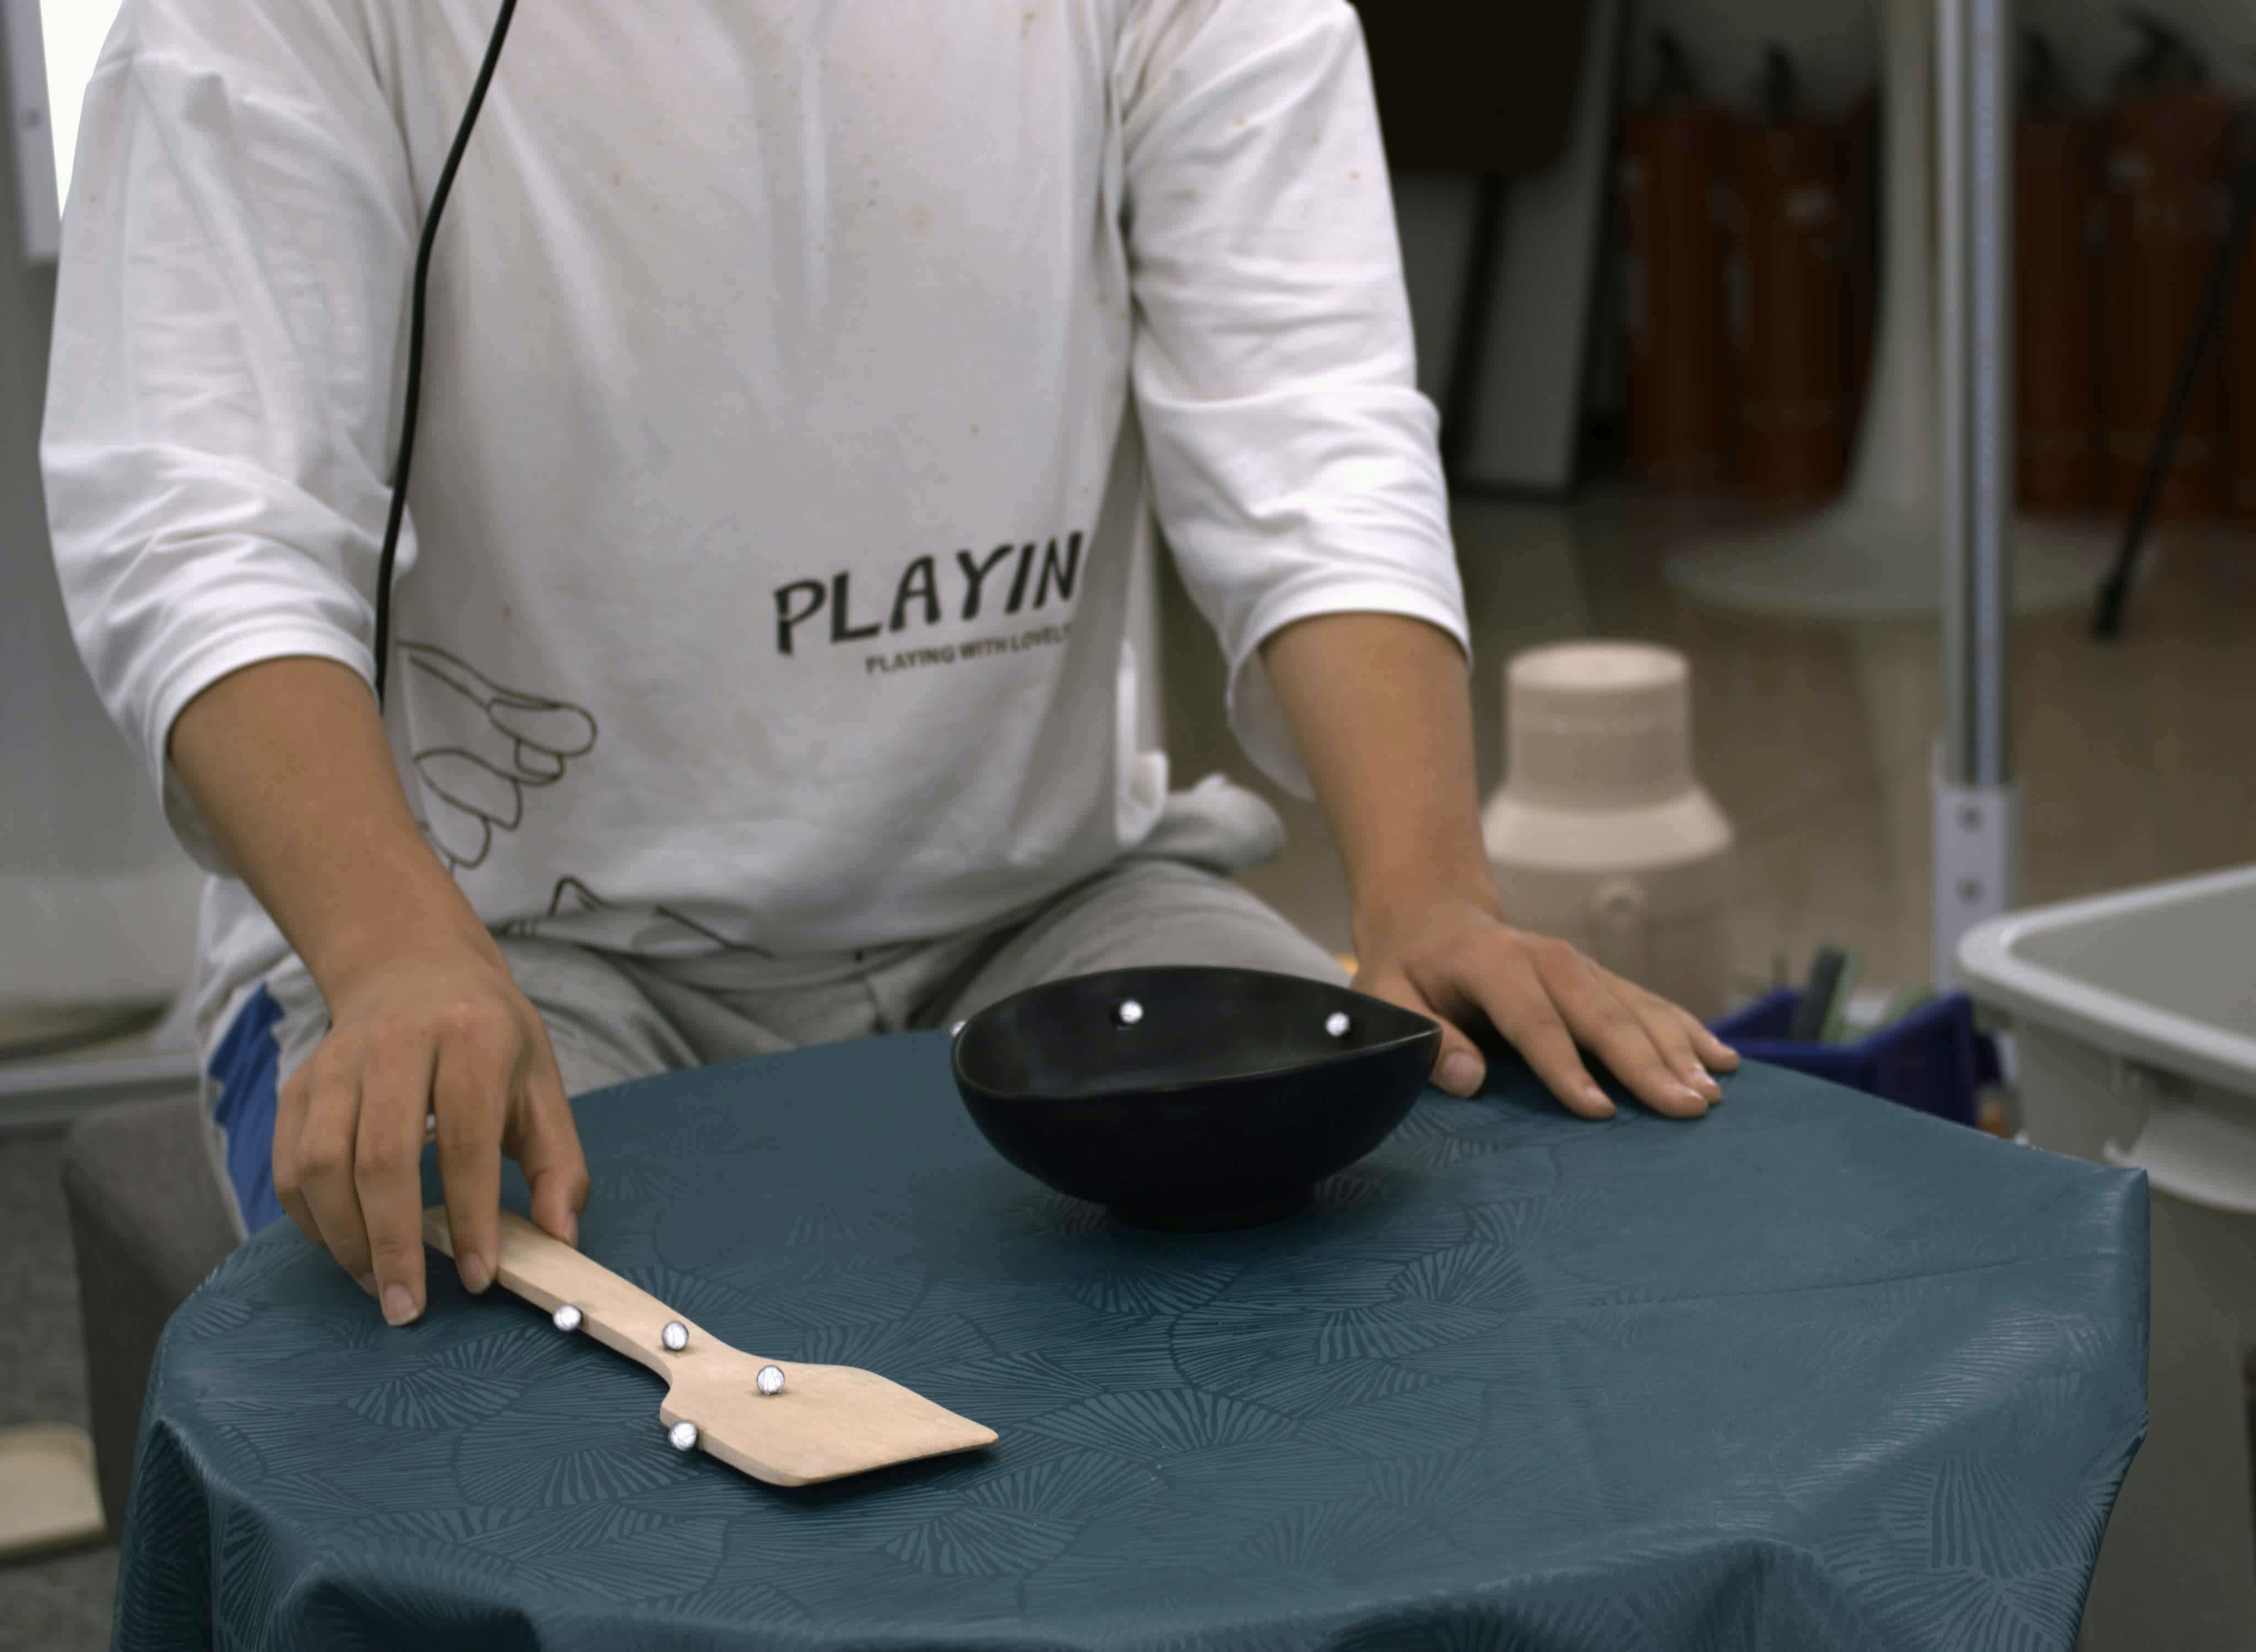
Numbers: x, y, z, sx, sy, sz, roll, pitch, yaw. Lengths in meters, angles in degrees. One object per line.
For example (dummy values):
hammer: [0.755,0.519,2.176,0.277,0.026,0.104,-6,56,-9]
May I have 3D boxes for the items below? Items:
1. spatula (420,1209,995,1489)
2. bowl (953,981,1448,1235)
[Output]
spatula: [-0.143,0.156,1.642,0.070,0.011,0.296,-9,15,-31]
bowl: [0.024,0.093,1.751,0.166,0.067,0.139,-9,13,-29]
